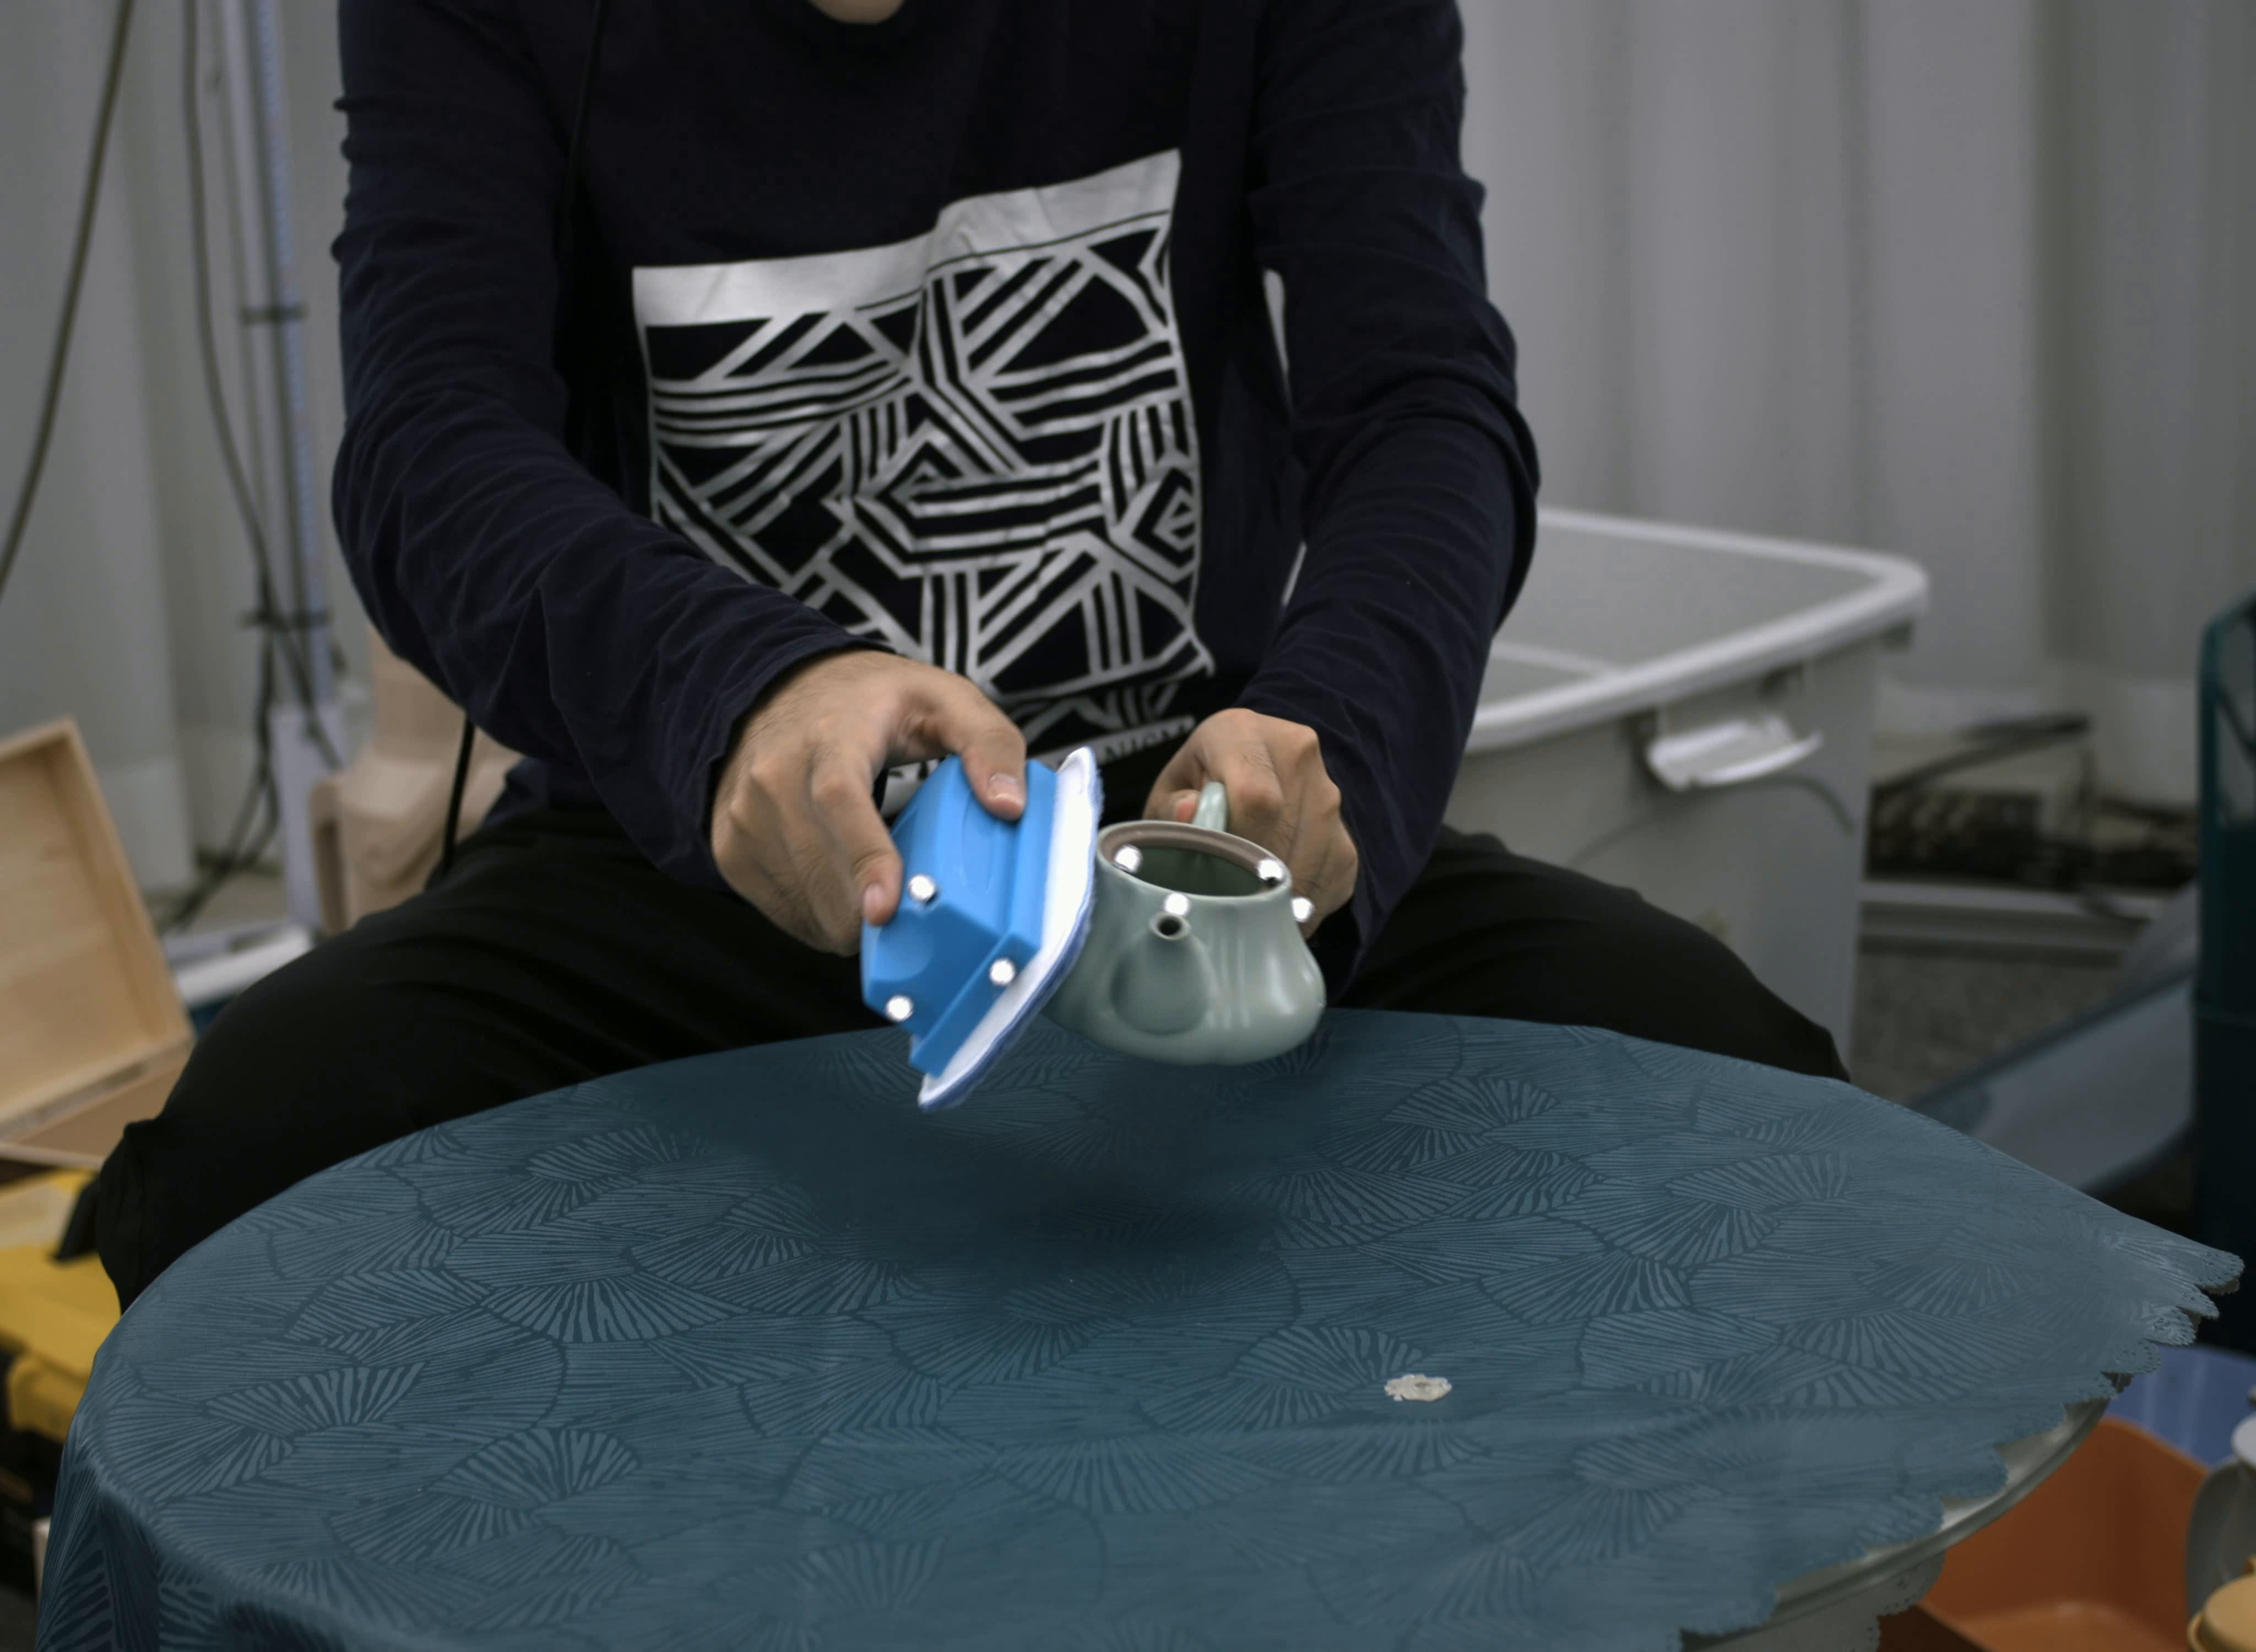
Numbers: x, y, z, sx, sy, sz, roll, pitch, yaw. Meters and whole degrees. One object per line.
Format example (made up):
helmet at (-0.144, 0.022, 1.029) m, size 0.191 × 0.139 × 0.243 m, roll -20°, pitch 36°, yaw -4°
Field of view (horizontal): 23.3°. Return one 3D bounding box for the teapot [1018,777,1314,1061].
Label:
teapot at (0.012, 0.032, 1.673) m, size 0.096 × 0.061 × 0.138 m, roll 11°, pitch 21°, yaw 2°

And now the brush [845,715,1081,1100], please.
brush at (-0.057, 0.017, 1.664) m, size 0.055 × 0.083 × 0.146 m, roll 35°, pitch 24°, yaw -18°
